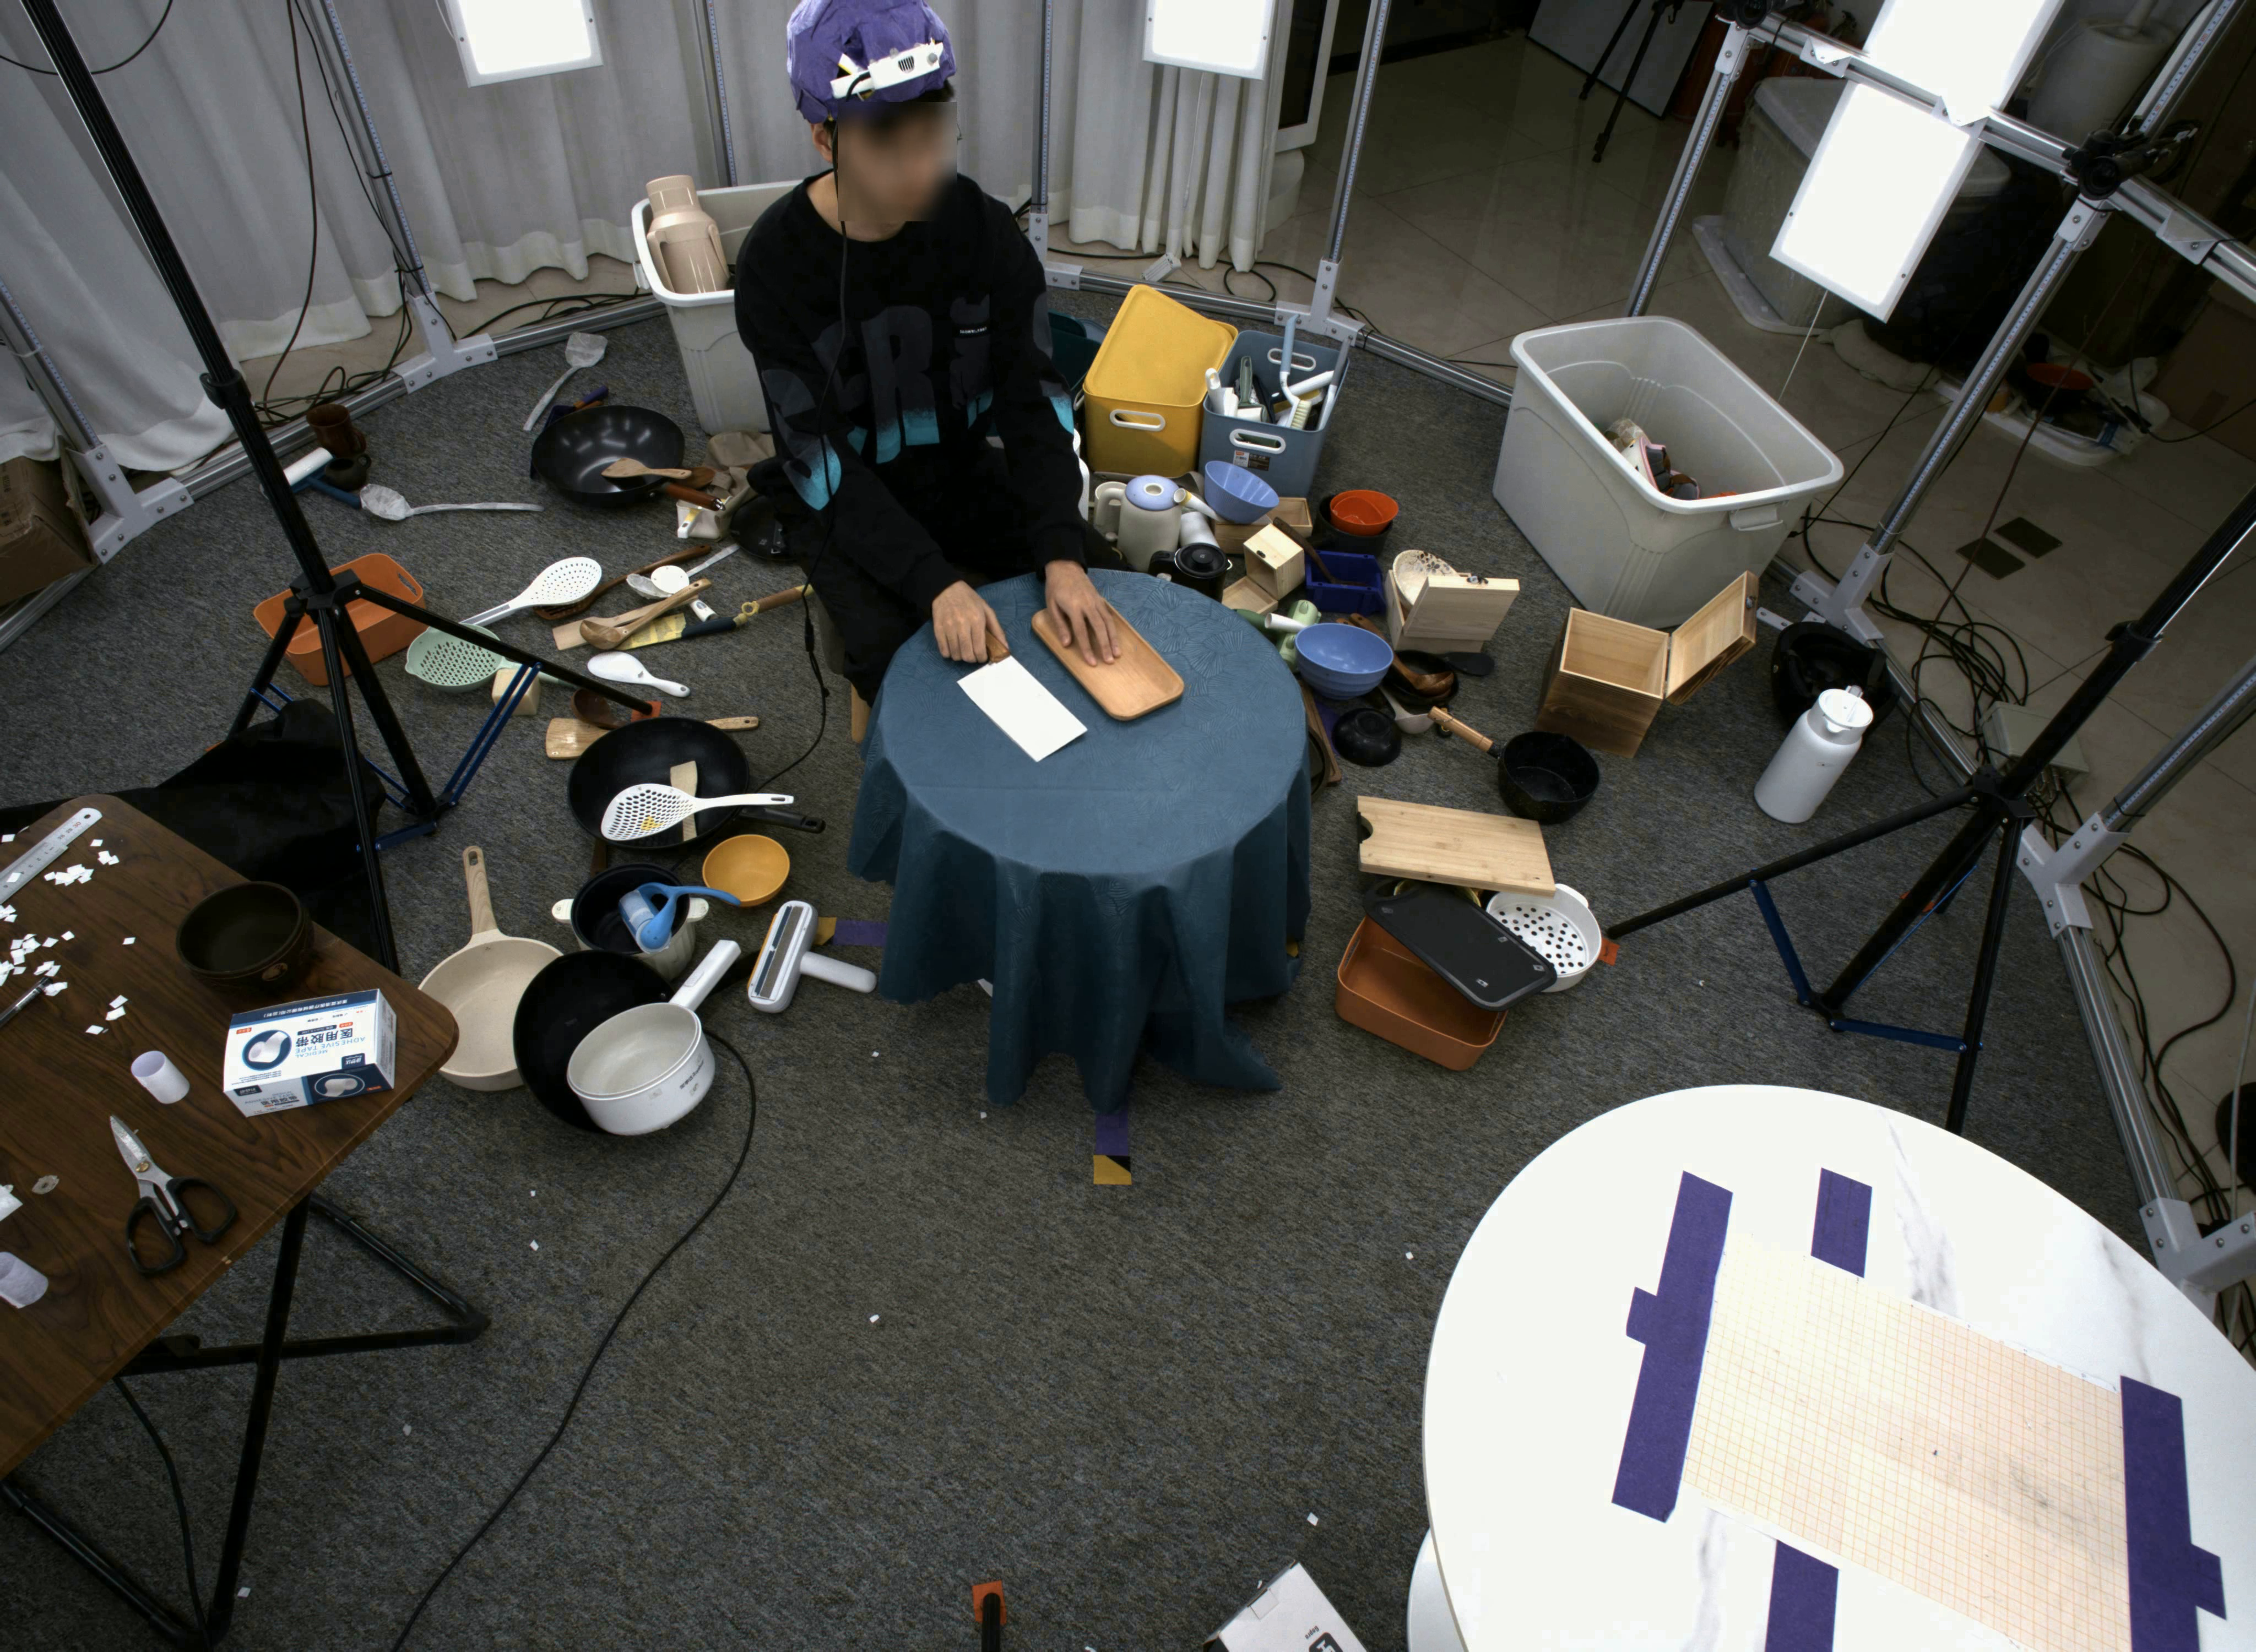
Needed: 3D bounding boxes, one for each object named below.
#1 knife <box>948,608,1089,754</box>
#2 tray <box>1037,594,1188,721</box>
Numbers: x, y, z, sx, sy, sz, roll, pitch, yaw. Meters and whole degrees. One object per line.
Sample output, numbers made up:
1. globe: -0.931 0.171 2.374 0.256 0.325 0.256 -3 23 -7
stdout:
1. knife: -0.179 -0.206 1.826 0.093 0.020 0.311 -33 59 -20
2. tray: -0.025 -0.248 1.872 0.131 0.022 0.256 -22 53 -24
